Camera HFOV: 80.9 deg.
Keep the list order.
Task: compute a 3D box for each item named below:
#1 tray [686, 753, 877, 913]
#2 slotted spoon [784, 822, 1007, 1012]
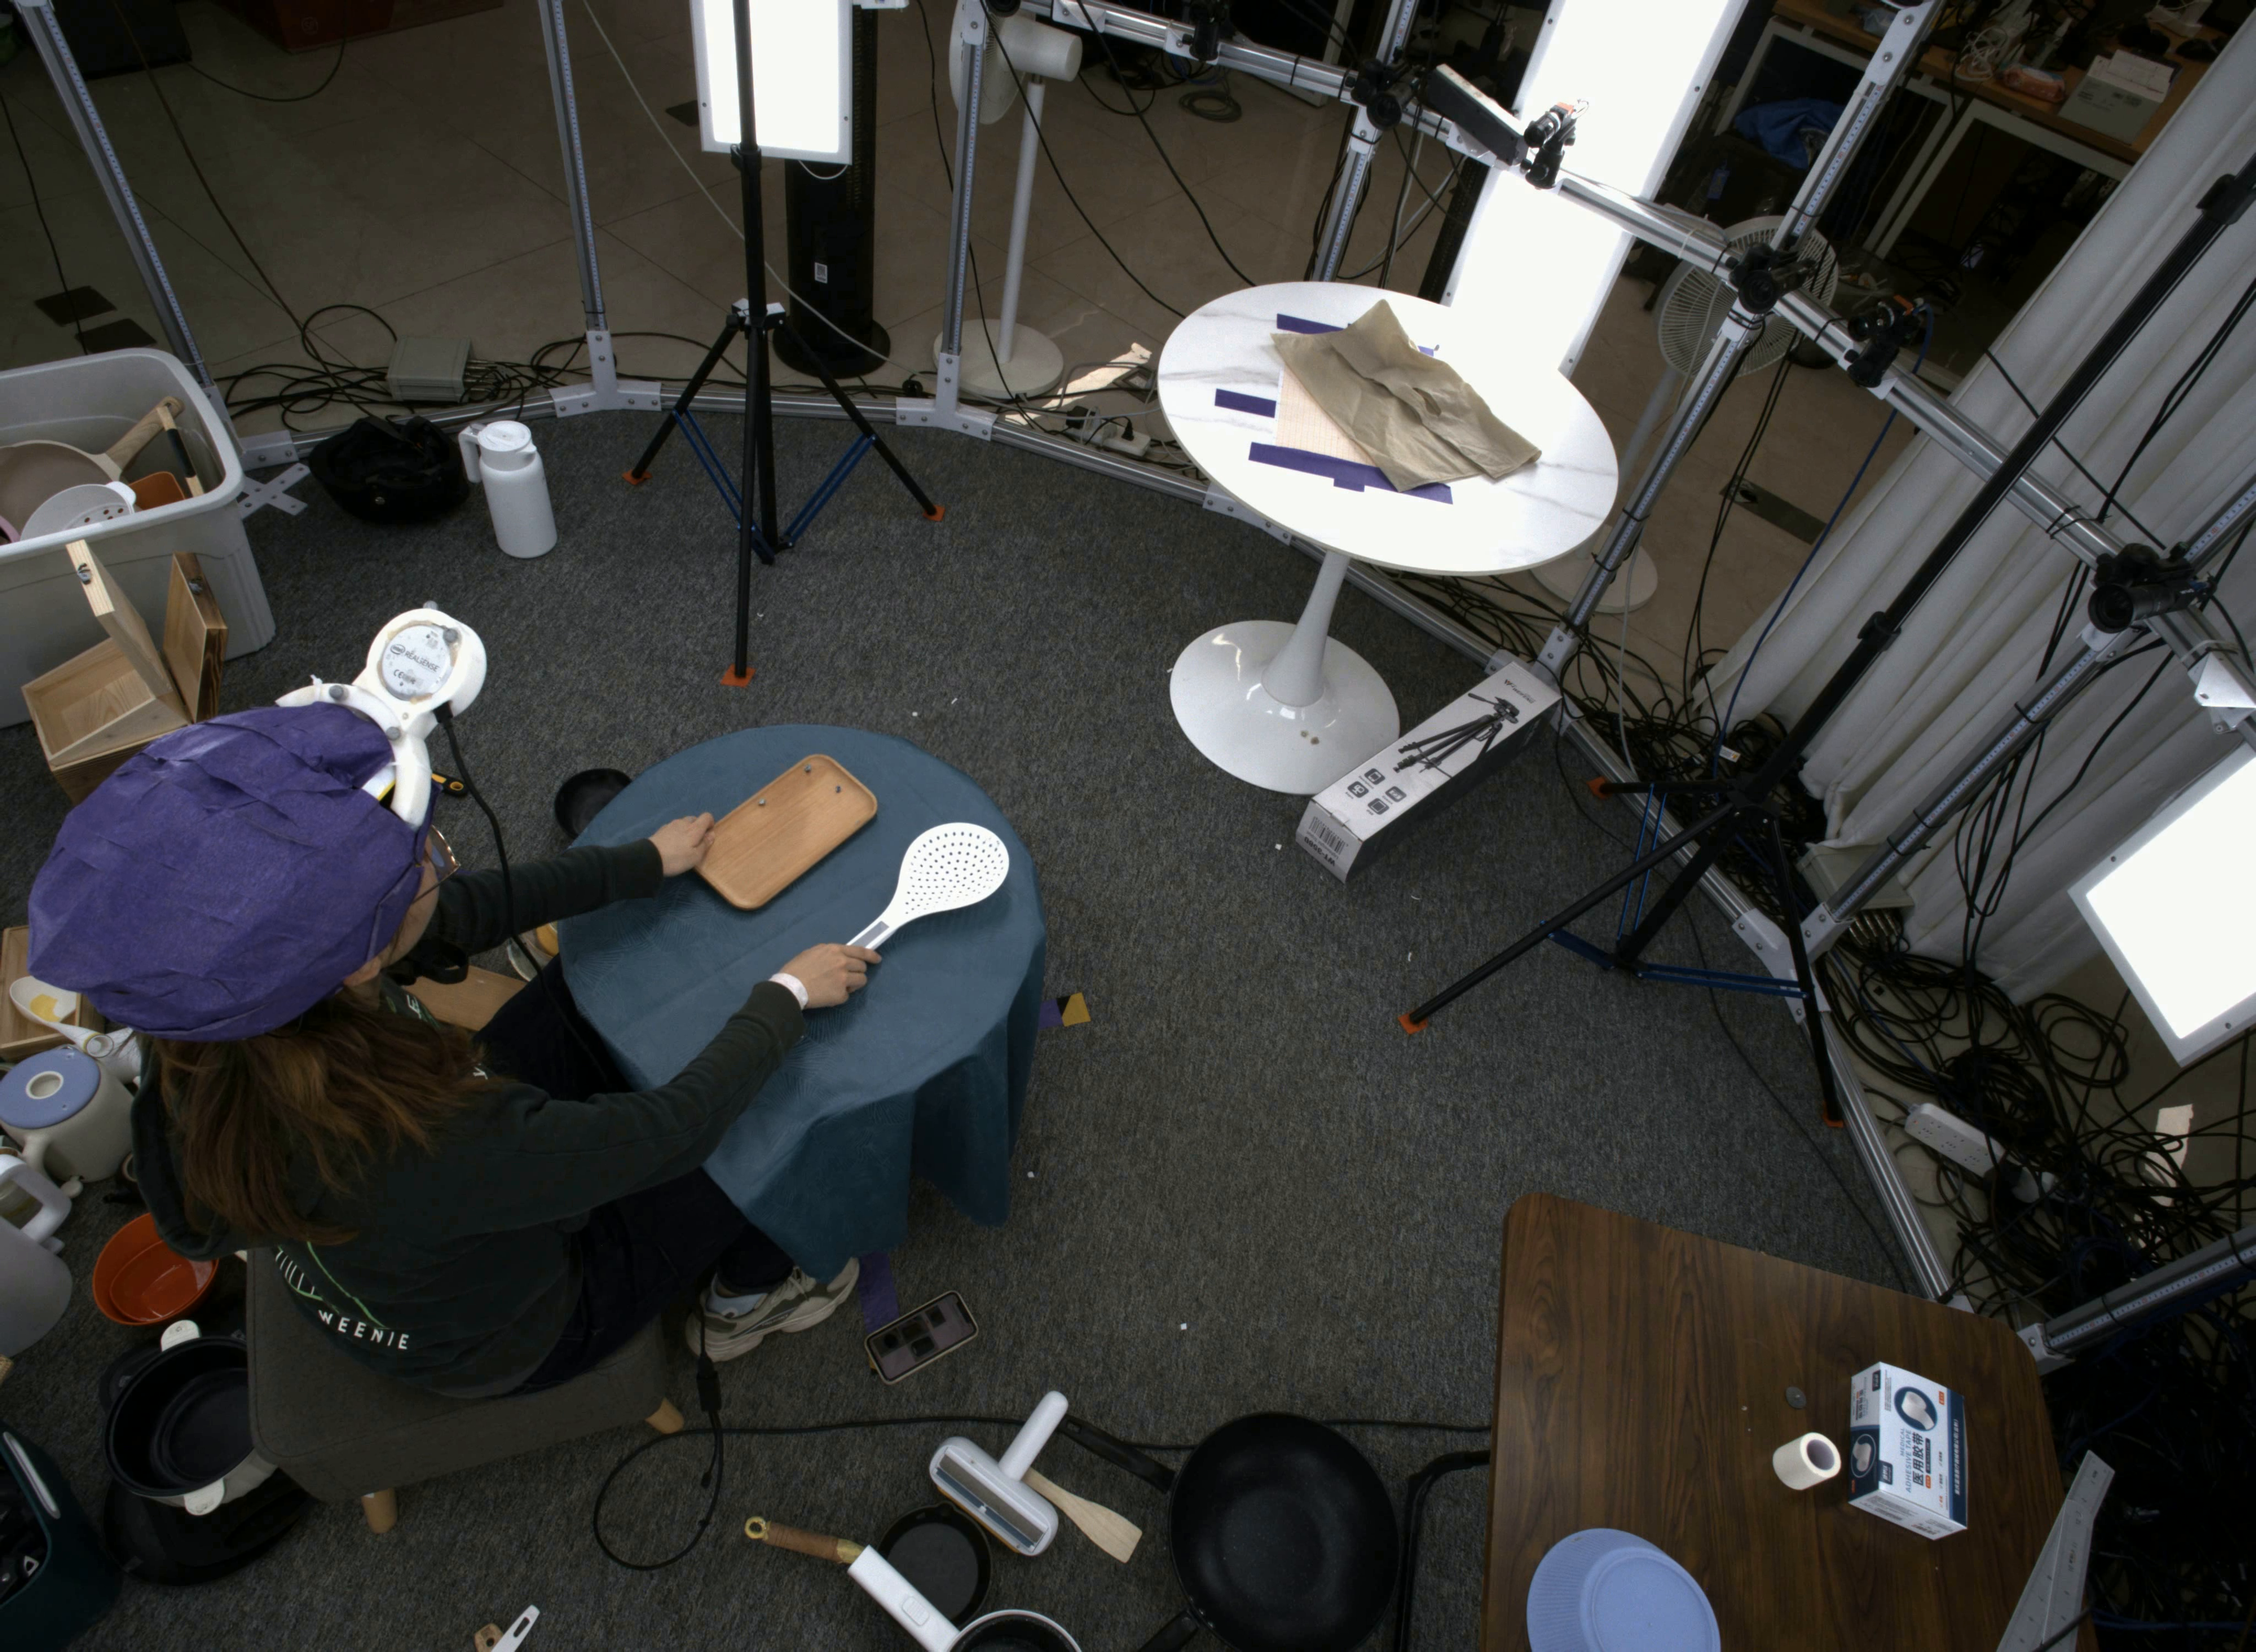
[{"bbox_3d":[-0.451,0.005,1.698,0.129,0.023,0.250,40,55,9],"label":"tray"},{"bbox_3d":[-0.294,0.113,1.646,0.132,0.047,0.350,34,52,23],"label":"slotted spoon"}]
